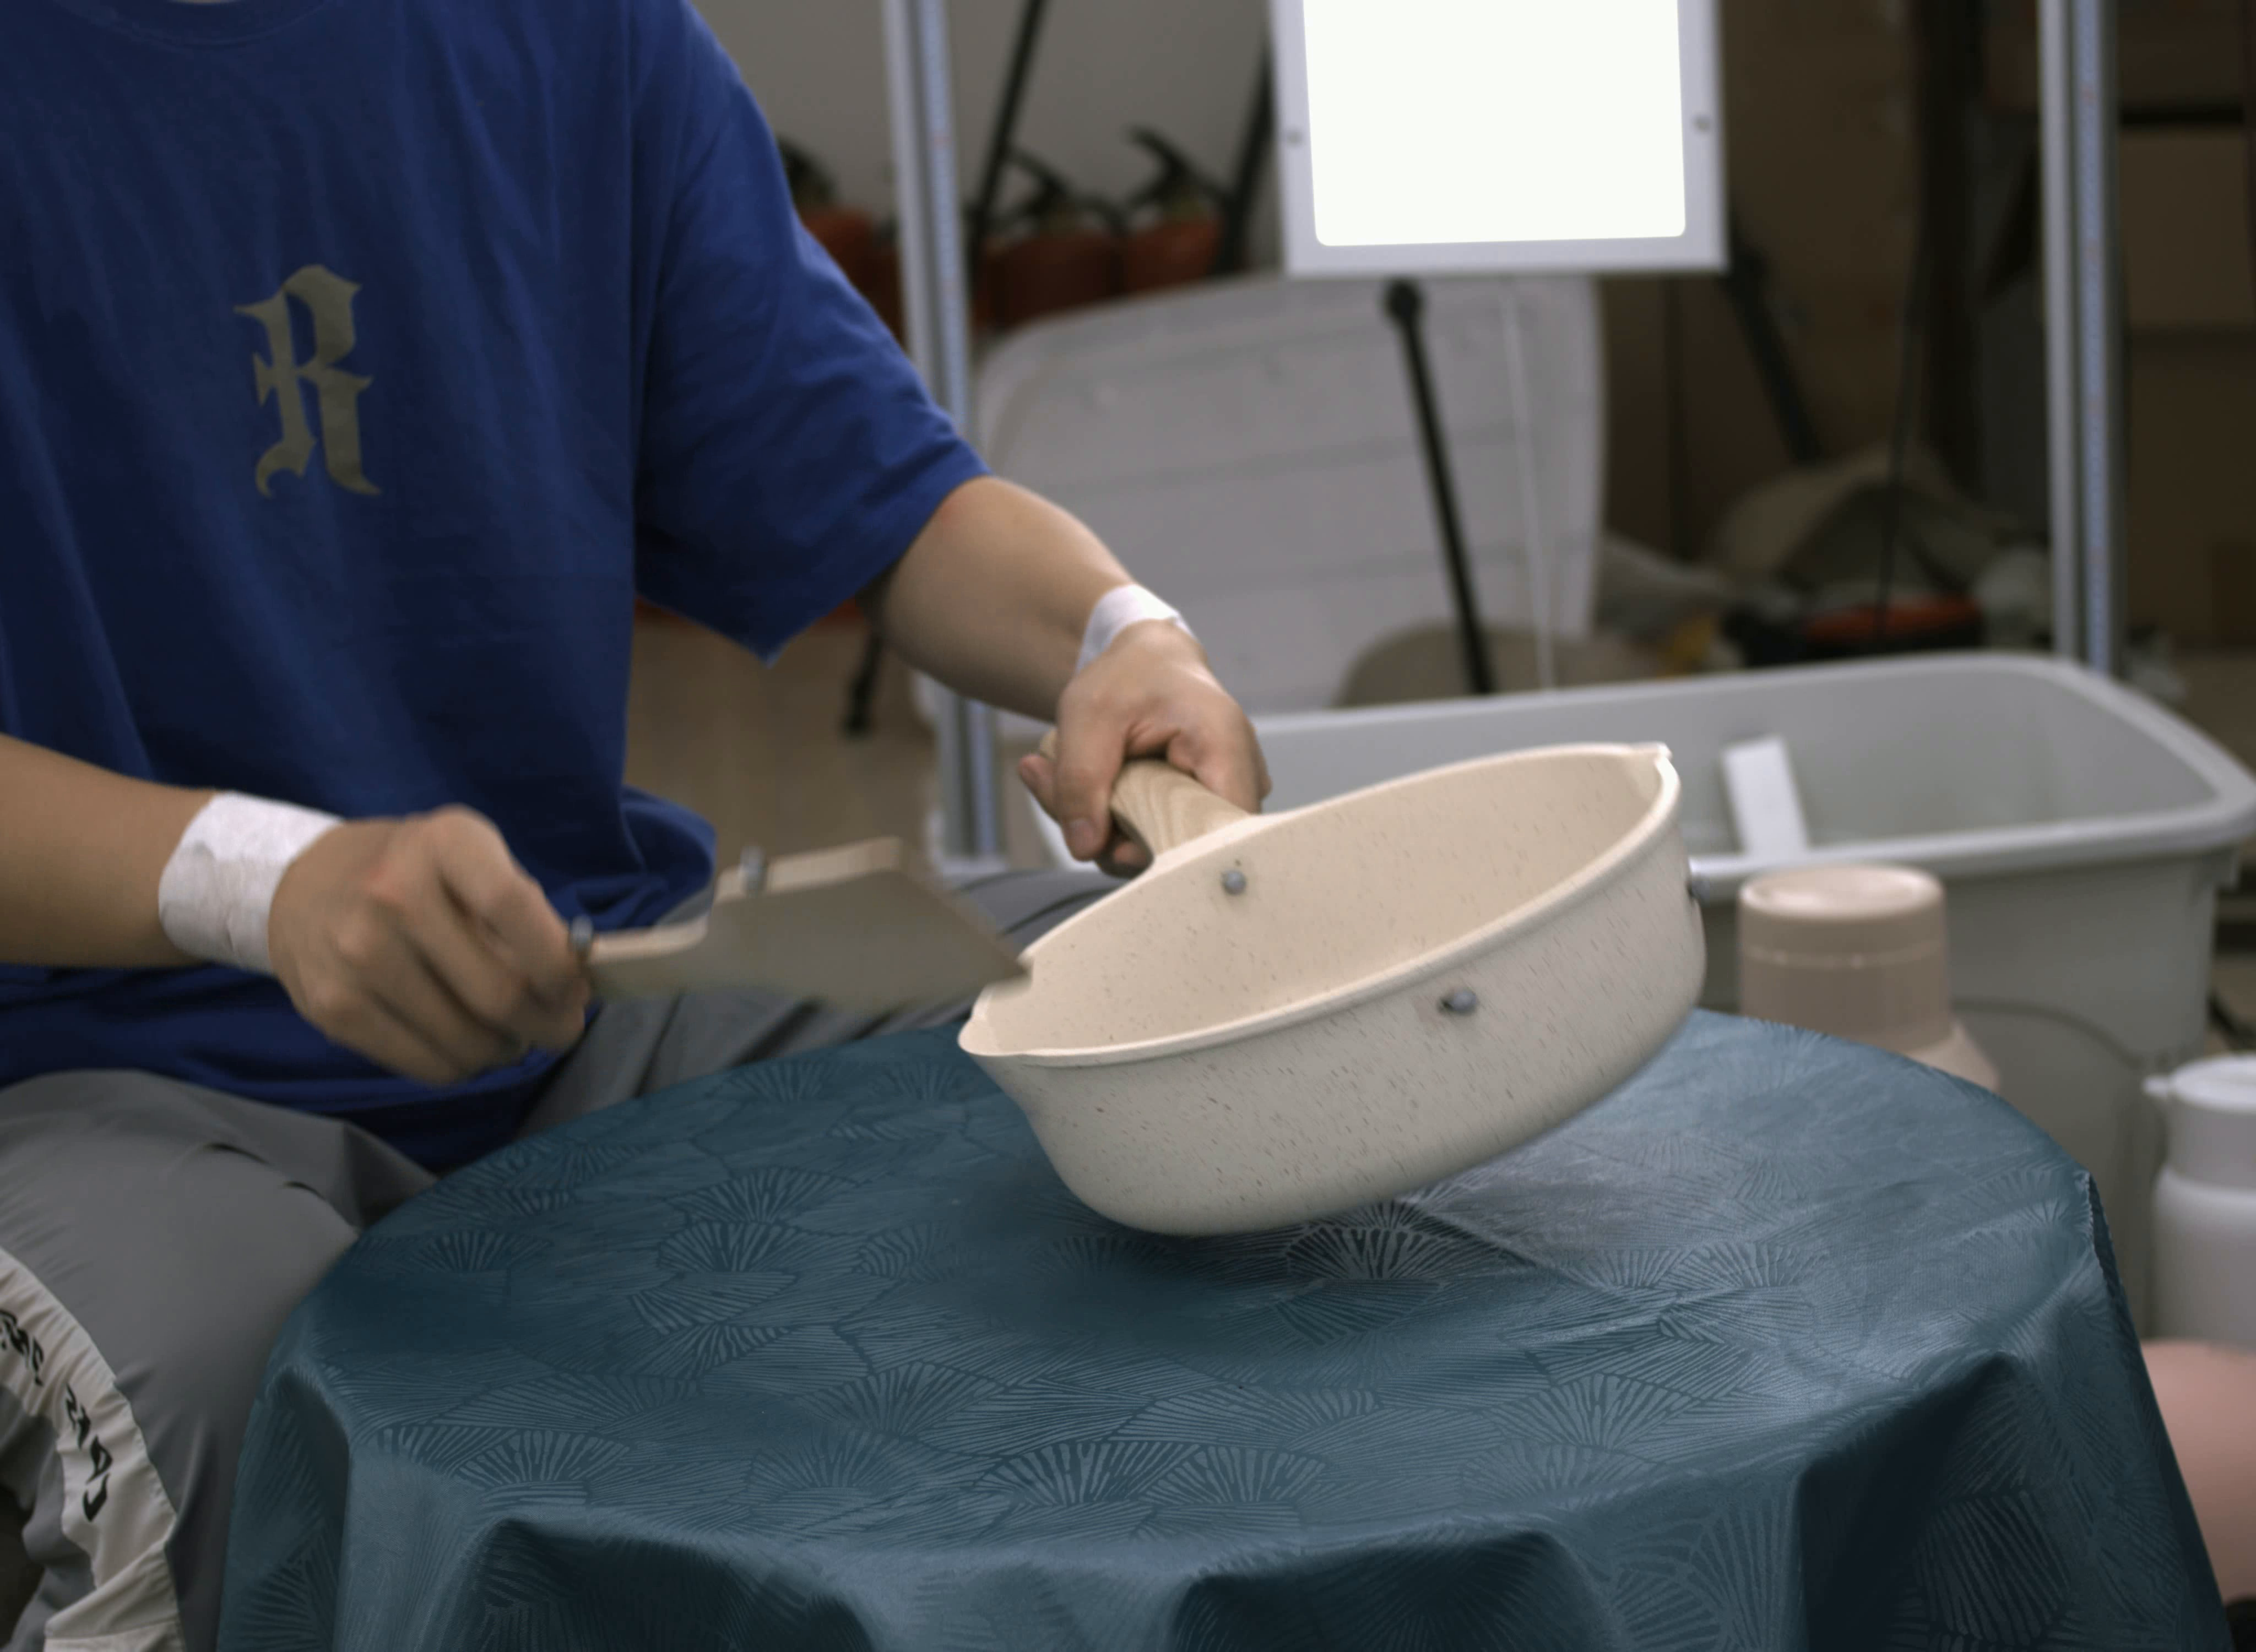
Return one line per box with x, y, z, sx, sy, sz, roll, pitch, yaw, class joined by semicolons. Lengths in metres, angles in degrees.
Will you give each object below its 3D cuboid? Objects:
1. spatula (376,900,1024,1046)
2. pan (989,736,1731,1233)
-0.153;0.053;1.790;0.300;0.071;0.010;-6;53;48;spatula
0.057;0.040;1.933;0.260;0.102;0.439;-24;13;-12;pan
